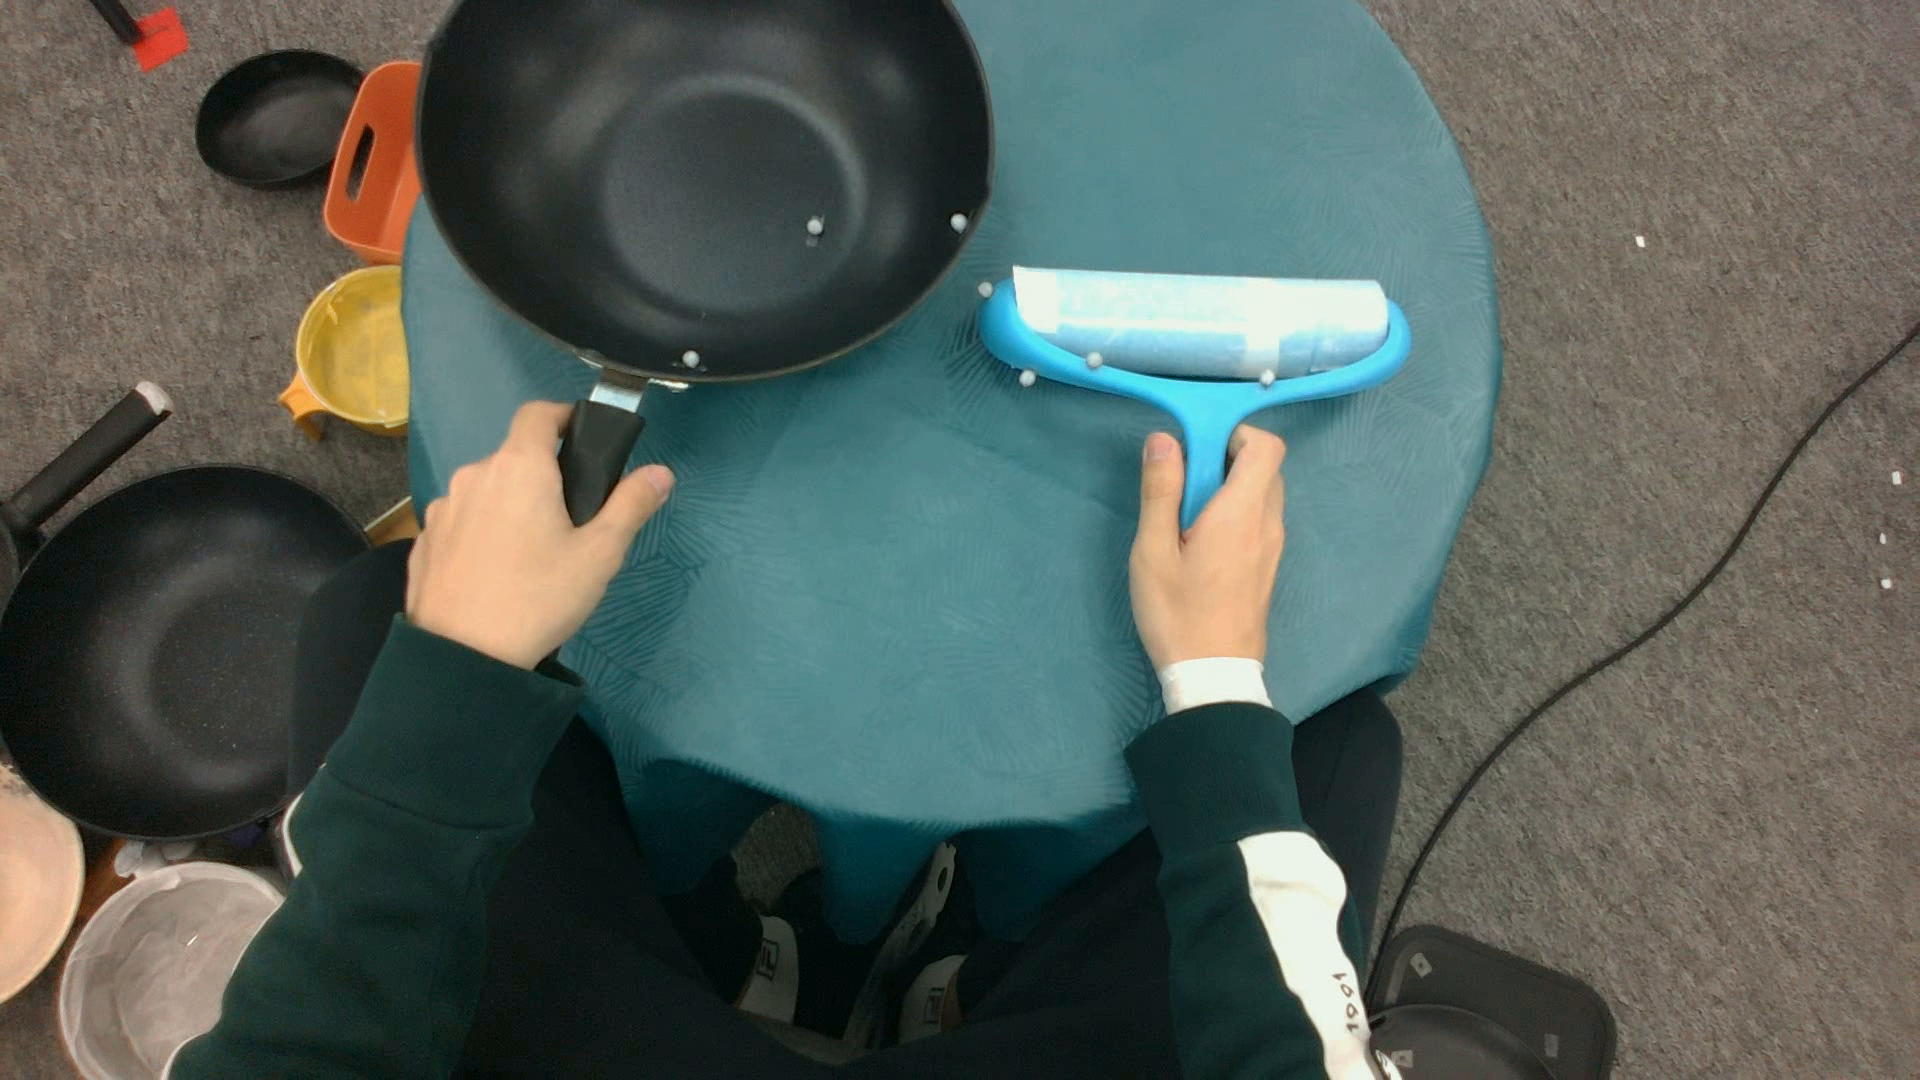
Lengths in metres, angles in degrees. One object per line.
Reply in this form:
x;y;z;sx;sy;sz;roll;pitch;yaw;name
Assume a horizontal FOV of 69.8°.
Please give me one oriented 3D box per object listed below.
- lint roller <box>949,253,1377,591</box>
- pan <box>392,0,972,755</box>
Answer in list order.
0.113;-0.068;0.717;0.229;0.067;0.180;-2;74;-8;lint roller
-0.160;-0.115;0.692;0.288;0.086;0.464;14;74;-1;pan
